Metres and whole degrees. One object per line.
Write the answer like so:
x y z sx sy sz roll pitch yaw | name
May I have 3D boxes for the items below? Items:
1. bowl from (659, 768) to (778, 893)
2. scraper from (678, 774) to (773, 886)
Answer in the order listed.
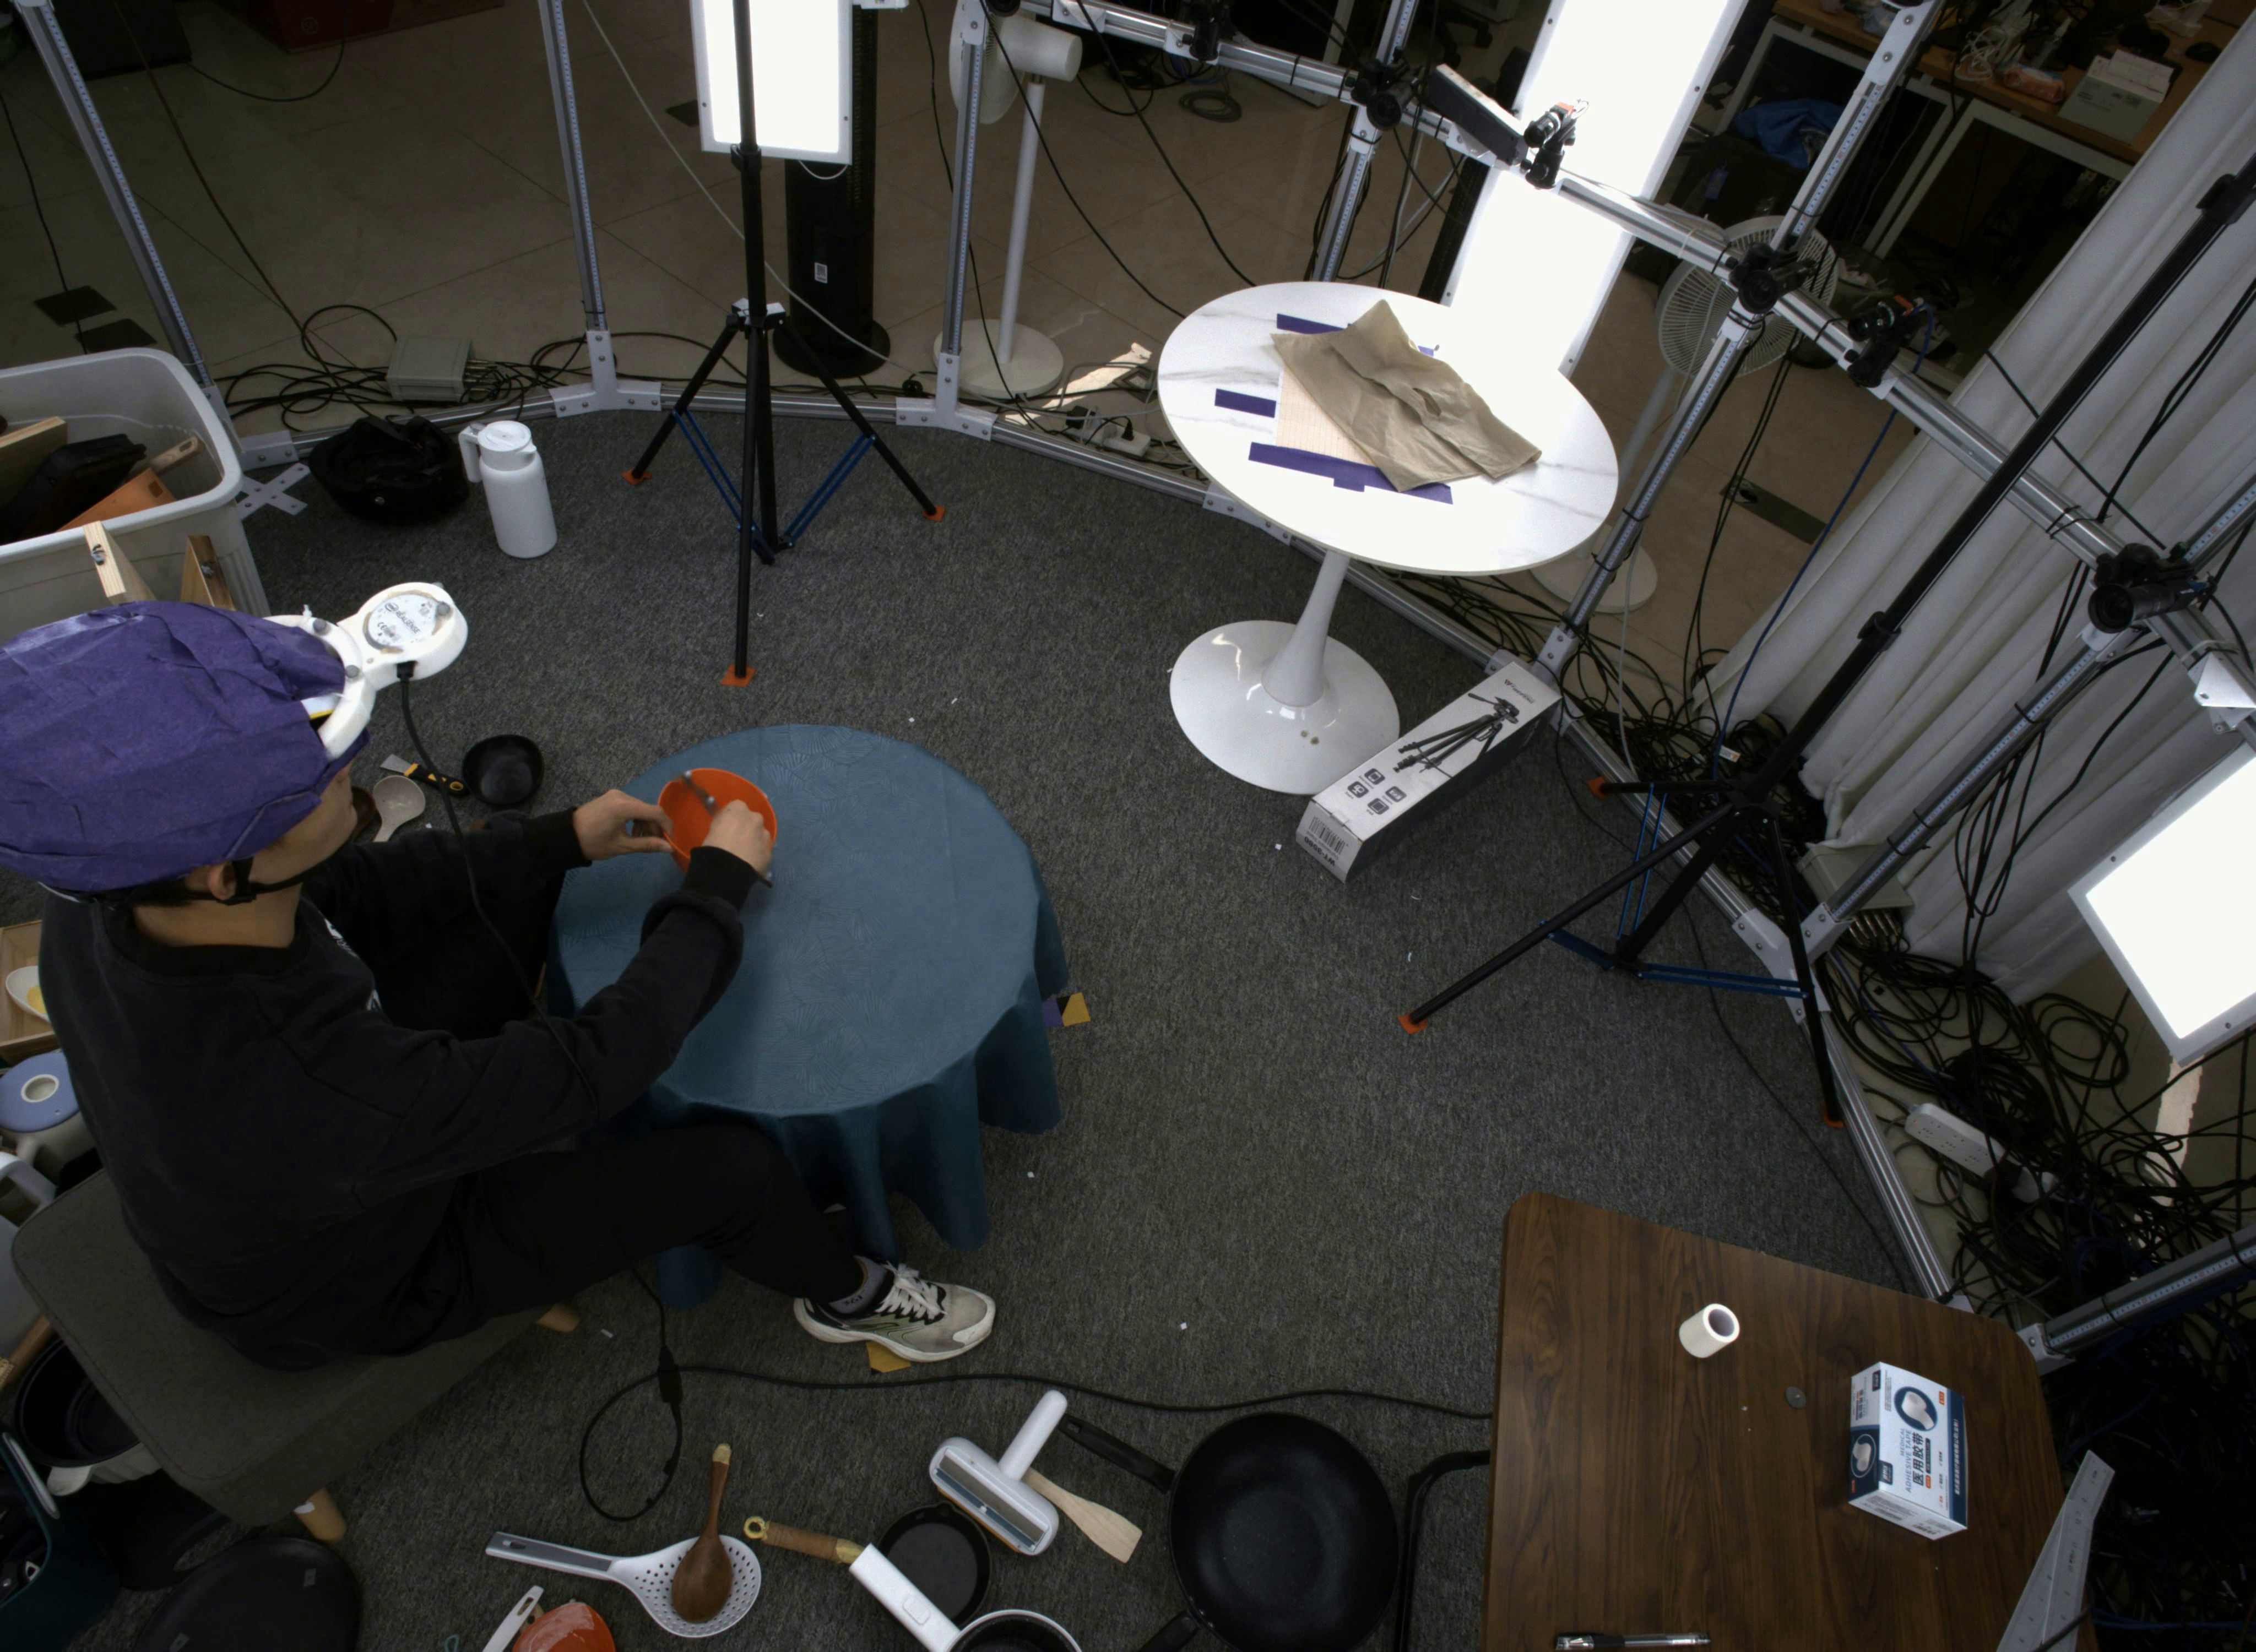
-0.519 0.016 1.619 0.149 0.106 0.145 18 42 -15 | bowl
-0.476 0.007 1.535 0.011 0.078 0.204 -44 56 -8 | scraper
